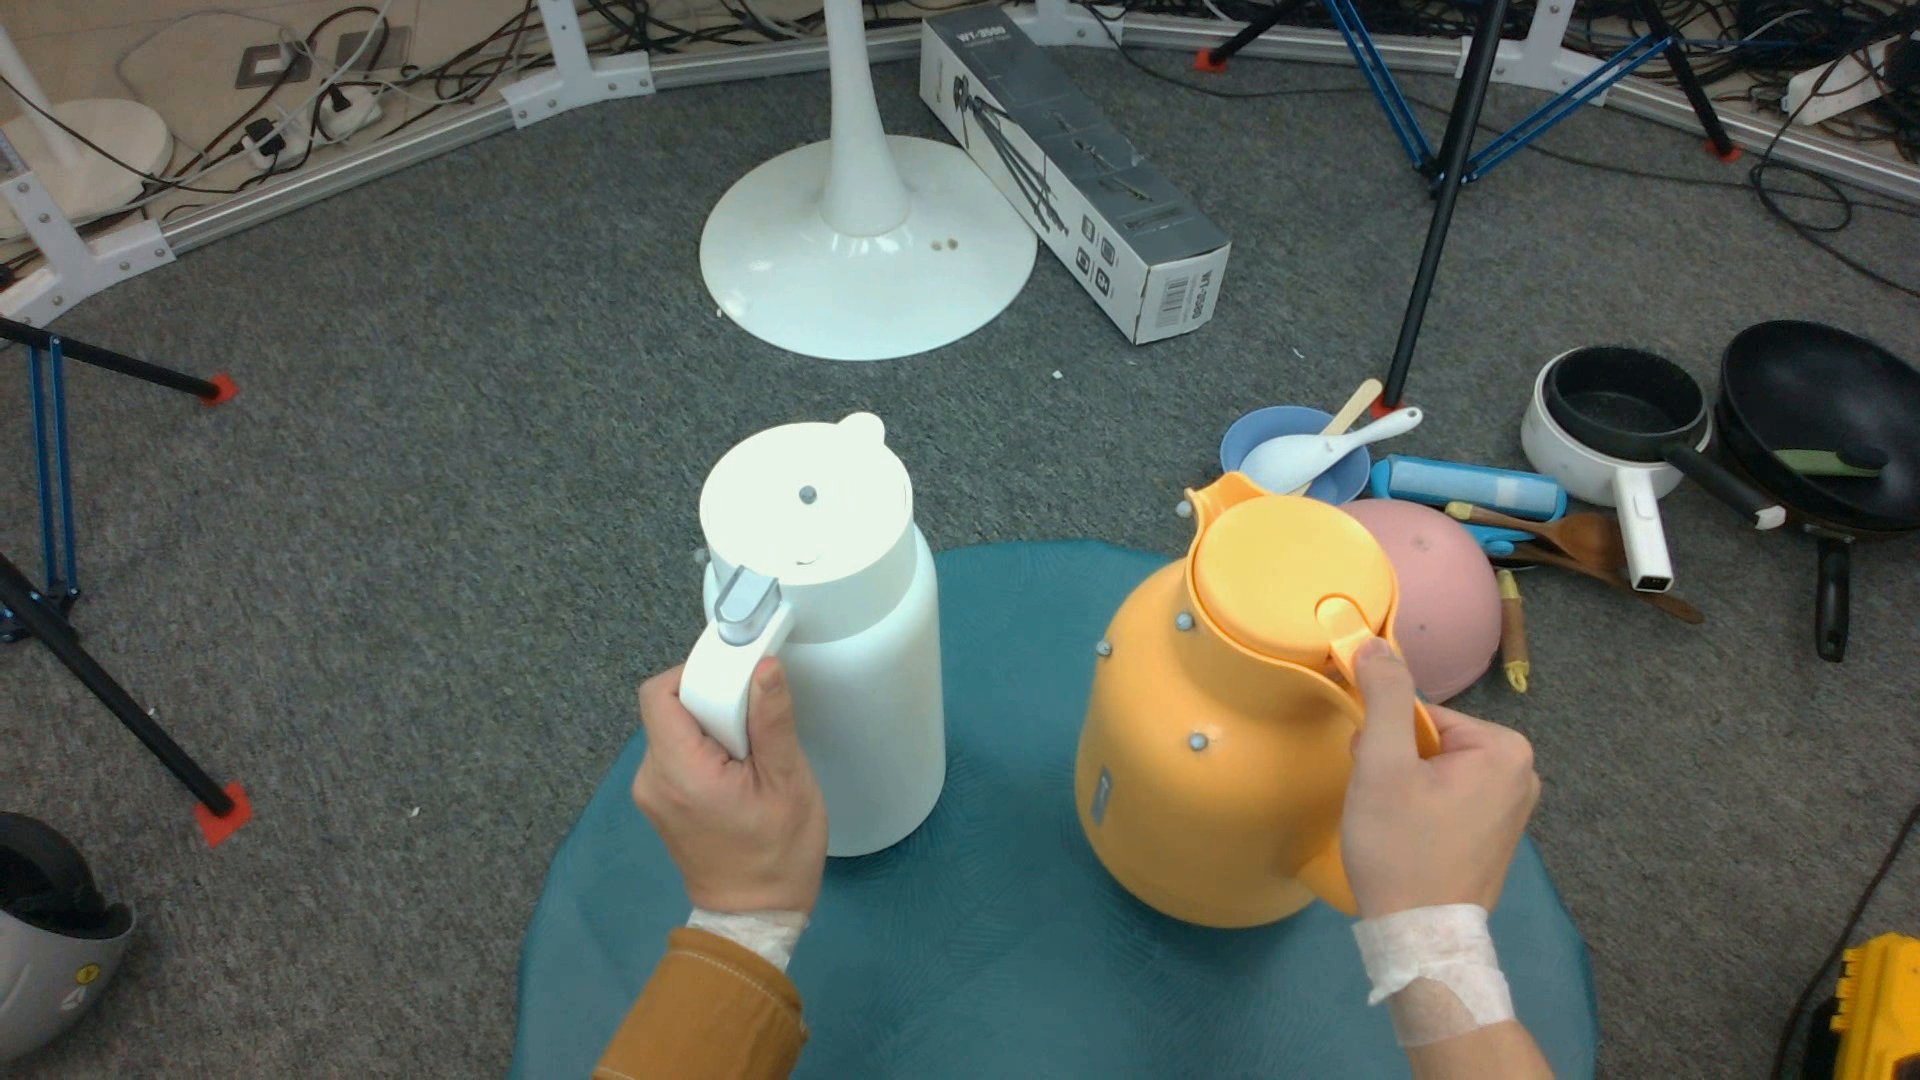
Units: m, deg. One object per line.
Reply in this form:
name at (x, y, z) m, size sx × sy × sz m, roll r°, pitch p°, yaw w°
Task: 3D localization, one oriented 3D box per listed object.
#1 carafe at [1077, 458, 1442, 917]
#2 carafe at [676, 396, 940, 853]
carafe at (0.155, 0.095, 0.711) m, size 0.164 × 0.259 × 0.203 m, roll -21°, pitch 55°, yaw -14°
carafe at (-0.077, 0.072, 0.726) m, size 0.124 × 0.267 × 0.173 m, roll 19°, pitch 54°, yaw 12°
